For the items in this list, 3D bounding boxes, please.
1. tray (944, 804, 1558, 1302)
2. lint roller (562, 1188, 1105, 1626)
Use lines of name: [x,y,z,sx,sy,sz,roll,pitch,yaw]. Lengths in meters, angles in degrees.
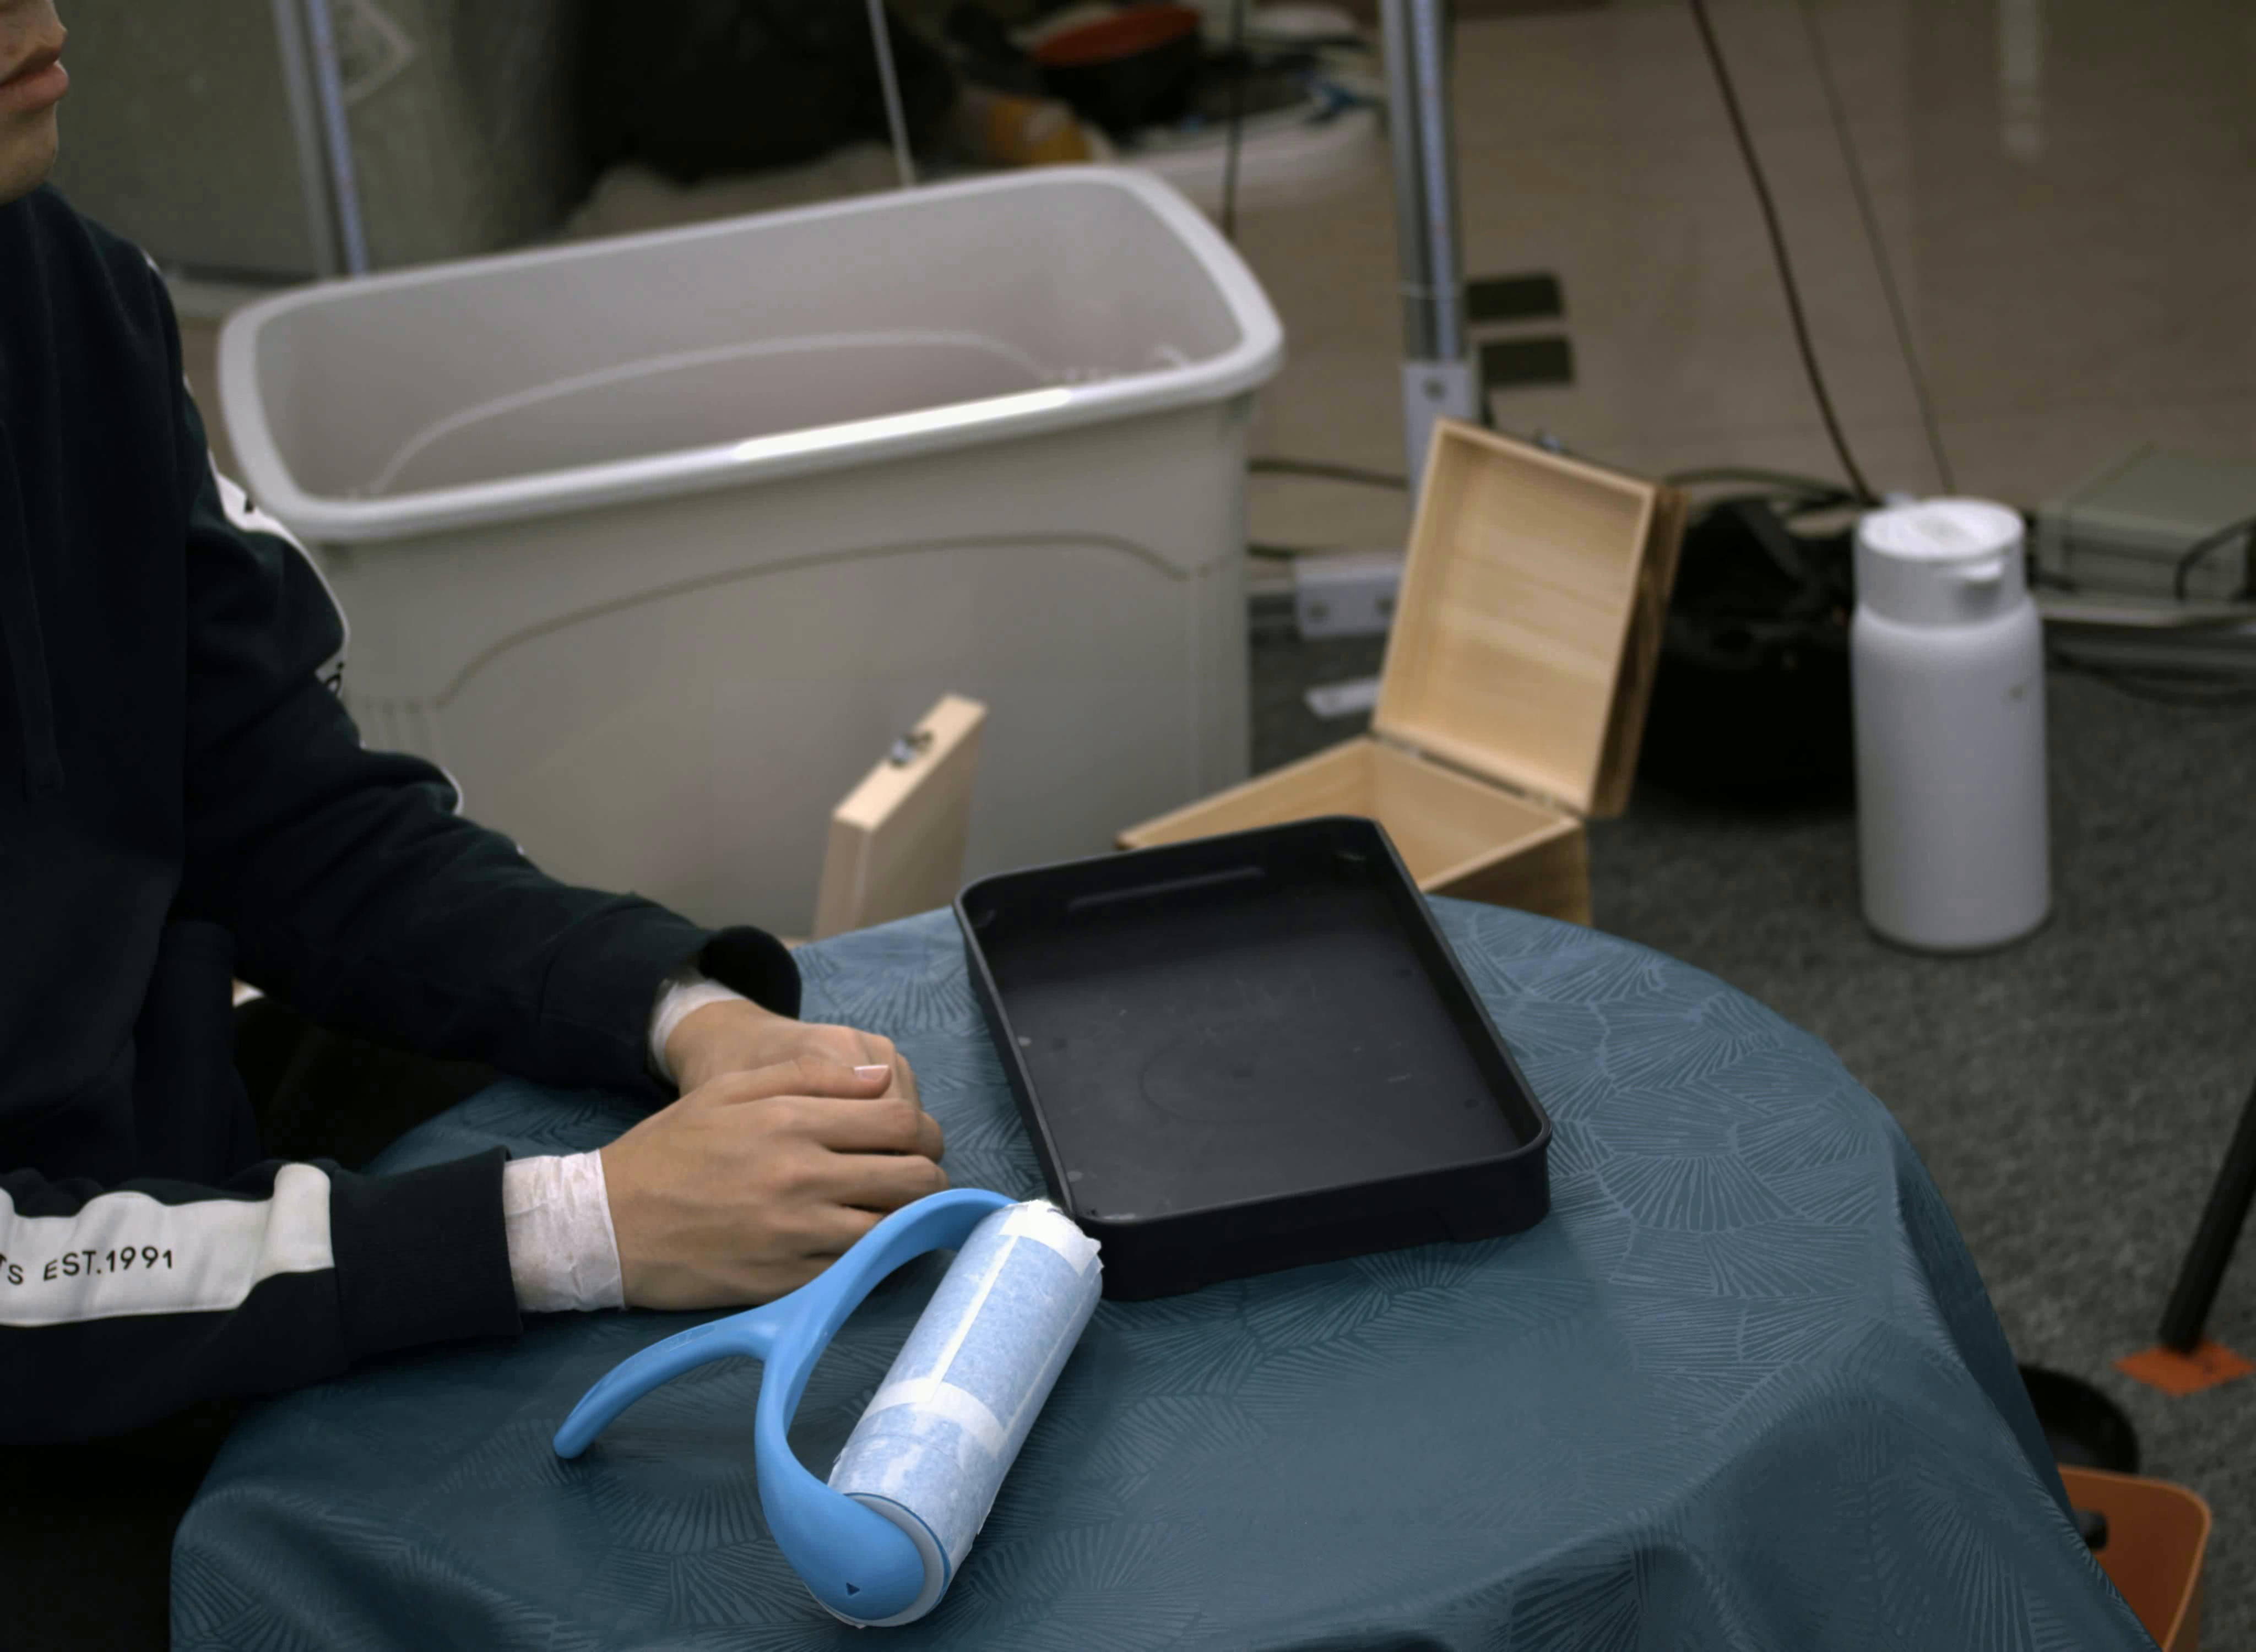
tray: [0.043,0.083,2.212,0.184,0.037,0.313,-11,26,-8]
lint roller: [-0.116,0.199,1.975,0.180,0.069,0.225,1,28,14]
